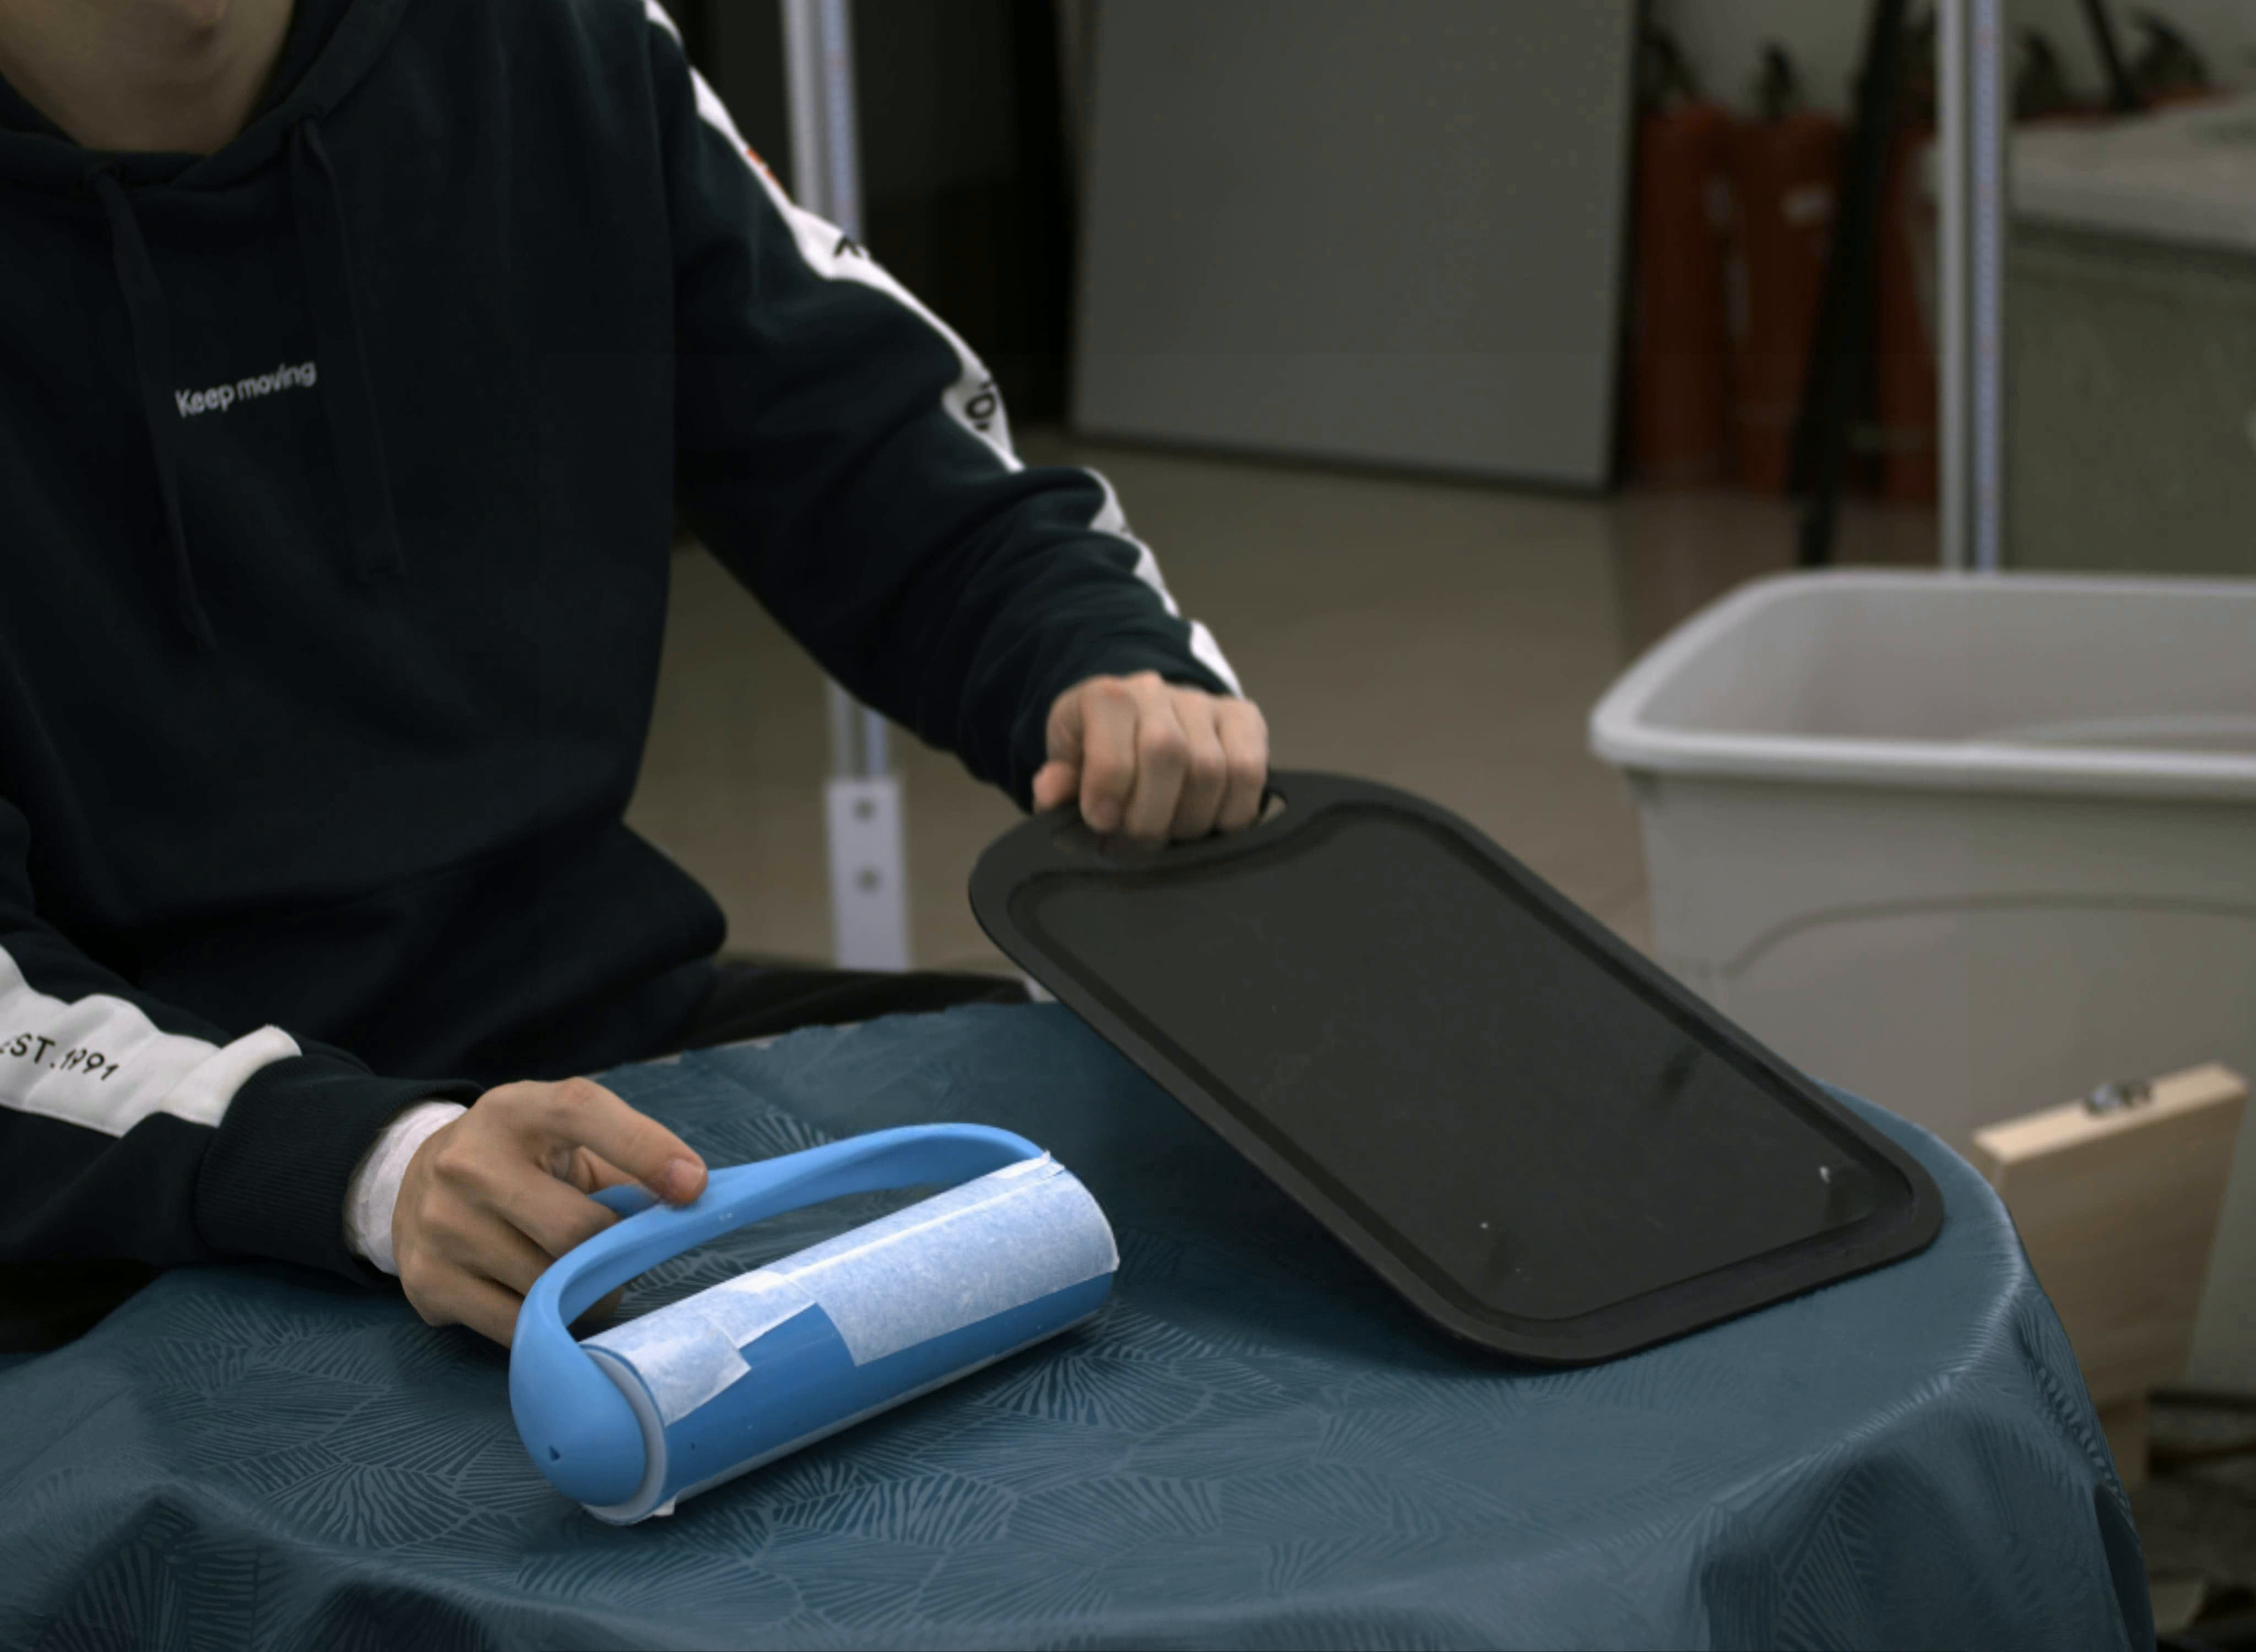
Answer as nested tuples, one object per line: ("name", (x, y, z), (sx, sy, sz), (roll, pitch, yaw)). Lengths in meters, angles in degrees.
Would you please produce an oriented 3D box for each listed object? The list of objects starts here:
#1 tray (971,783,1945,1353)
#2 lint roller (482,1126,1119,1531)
("tray", (0.096, 0.067, 1.722), (0.206, 0.010, 0.329), (-12, 35, -35))
("lint roller", (-0.129, 0.138, 1.610), (0.181, 0.068, 0.225), (12, 22, 38))
